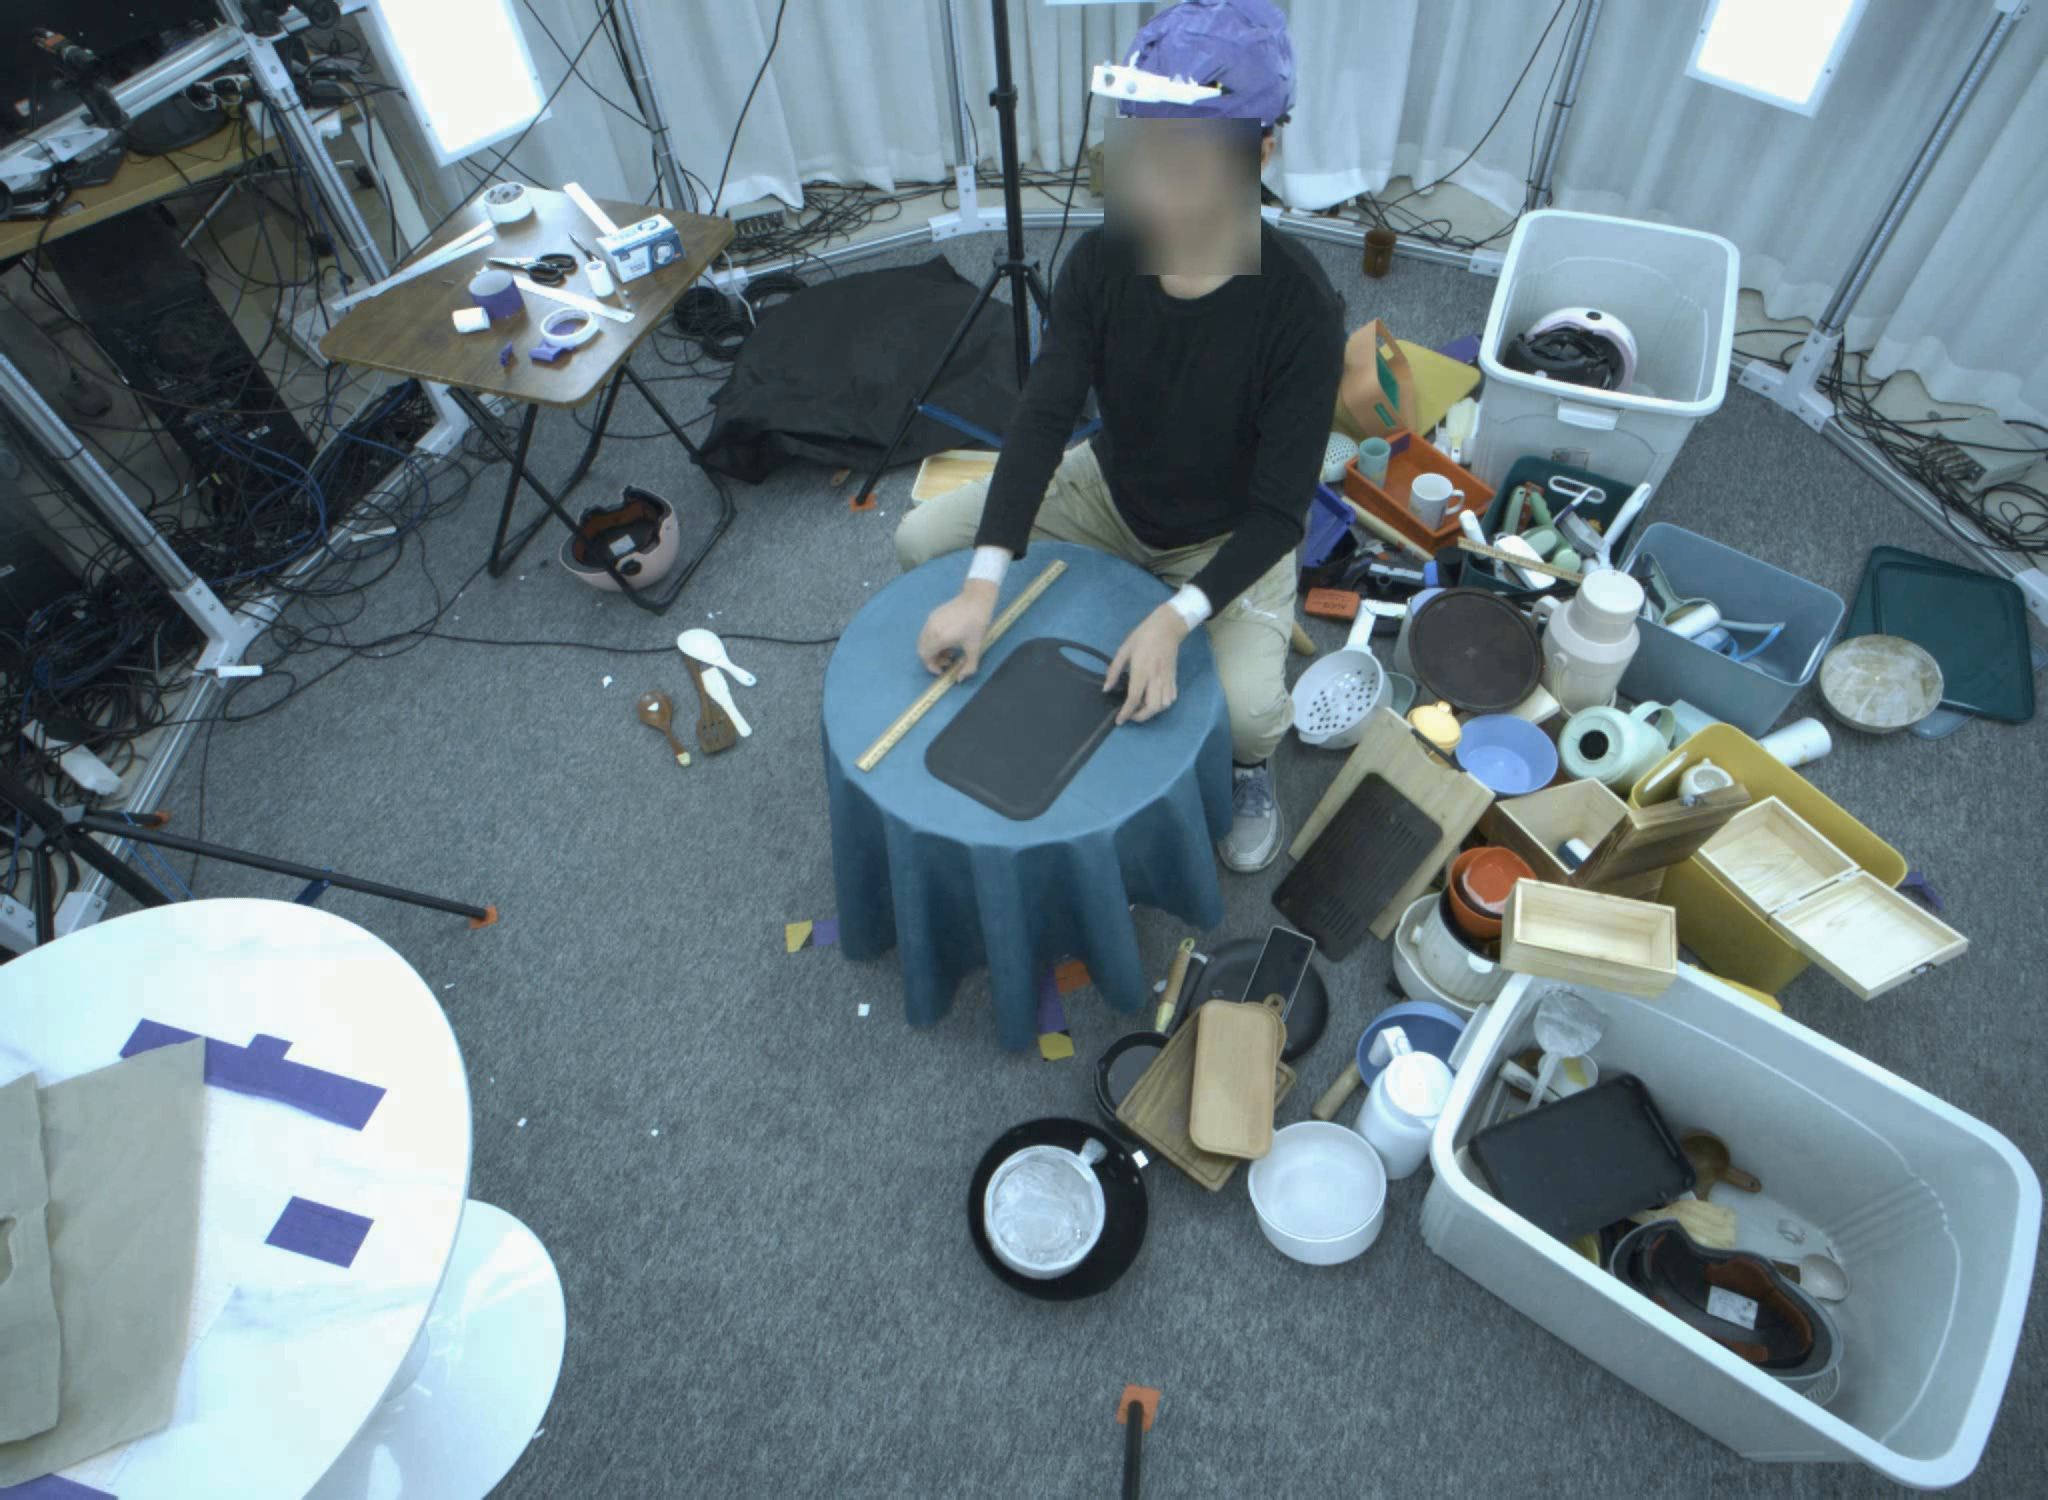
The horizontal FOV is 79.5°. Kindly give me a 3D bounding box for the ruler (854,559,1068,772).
[{"bbox_3d":[-0.088,-0.140,1.887,0.026,0.006,0.503,32,62,20],"label":"ruler"}]

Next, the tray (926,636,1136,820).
[{"bbox_3d":[0.017,-0.046,1.815,0.208,0.010,0.327,30,61,21],"label":"tray"}]
